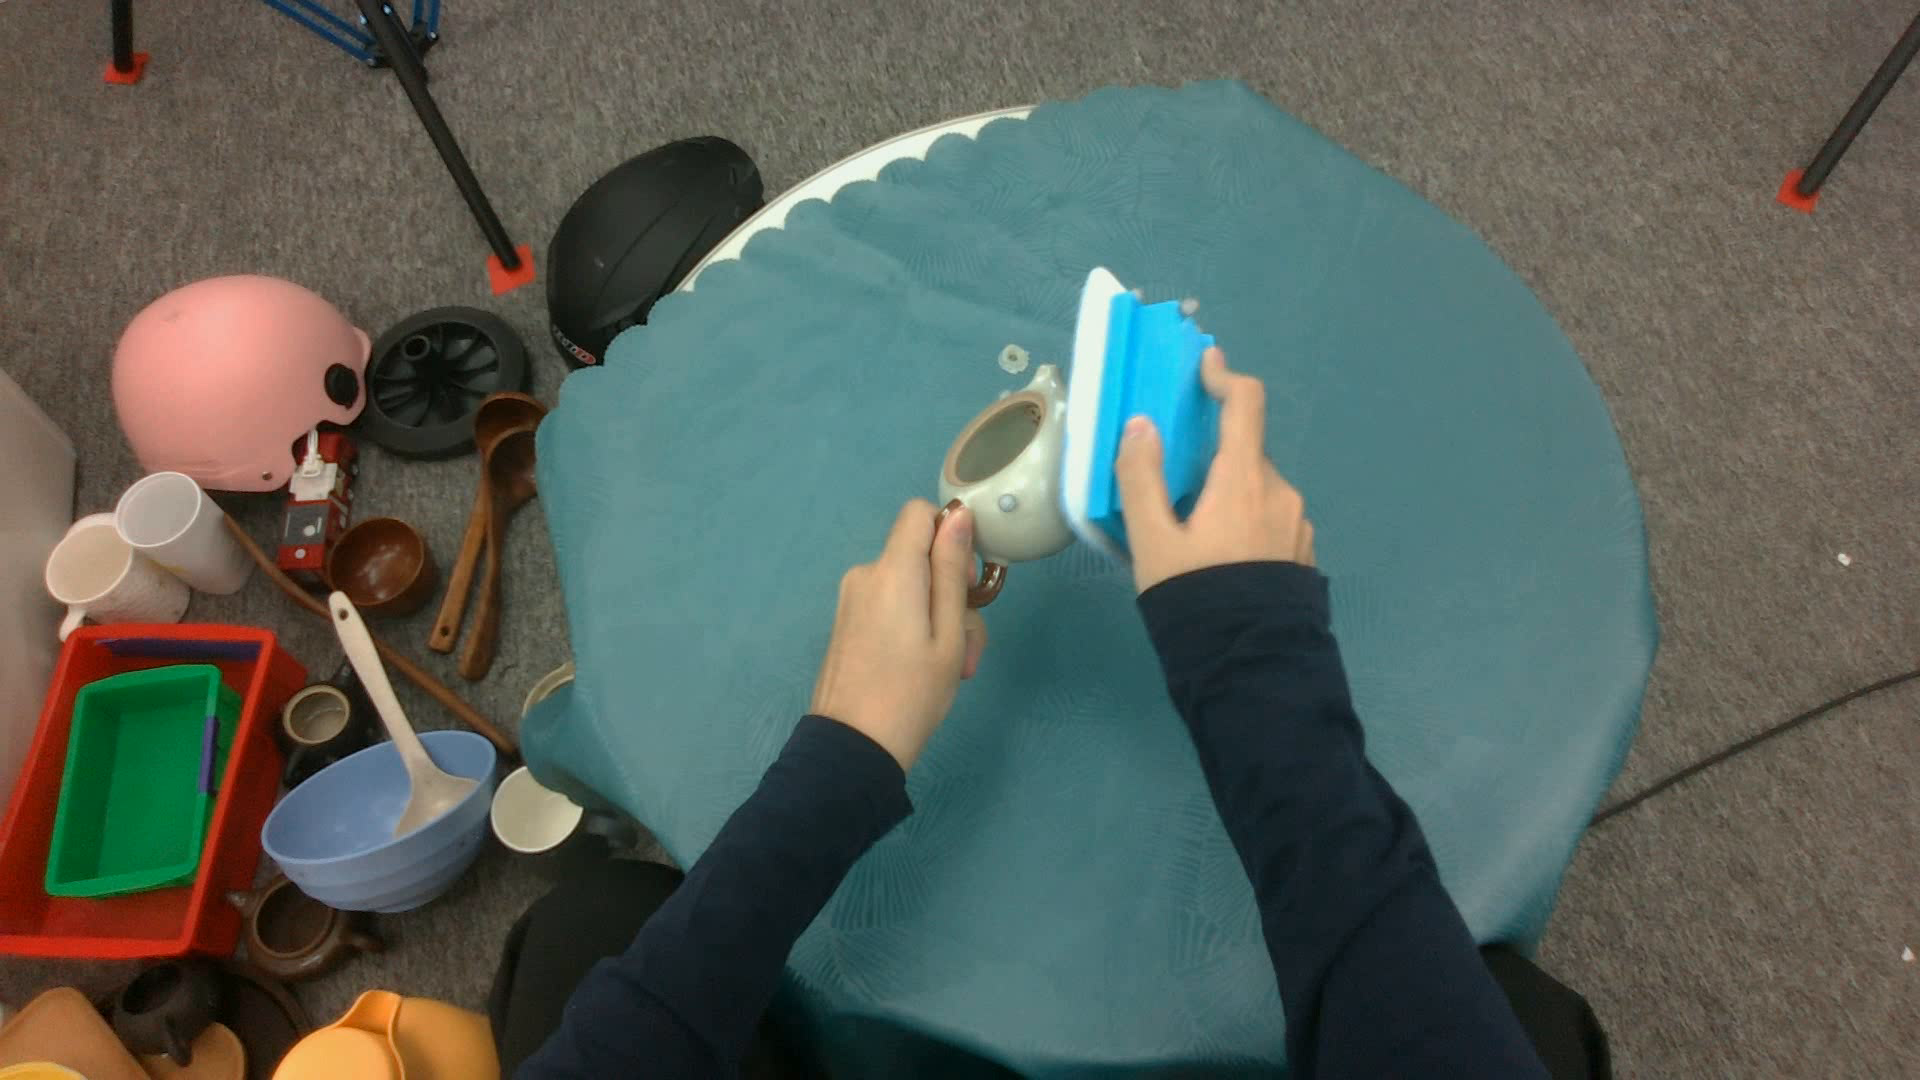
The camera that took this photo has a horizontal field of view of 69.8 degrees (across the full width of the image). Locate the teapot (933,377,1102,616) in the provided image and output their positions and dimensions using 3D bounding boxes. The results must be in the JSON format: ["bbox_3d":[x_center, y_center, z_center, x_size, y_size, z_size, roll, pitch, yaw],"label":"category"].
[{"bbox_3d":[0.029,-0.019,0.678,0.091,0.059,0.128,2,50,49],"label":"teapot"}]

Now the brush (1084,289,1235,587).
[{"bbox_3d":[0.101,-0.054,0.655,0.056,0.084,0.144,-18,53,32],"label":"brush"}]
